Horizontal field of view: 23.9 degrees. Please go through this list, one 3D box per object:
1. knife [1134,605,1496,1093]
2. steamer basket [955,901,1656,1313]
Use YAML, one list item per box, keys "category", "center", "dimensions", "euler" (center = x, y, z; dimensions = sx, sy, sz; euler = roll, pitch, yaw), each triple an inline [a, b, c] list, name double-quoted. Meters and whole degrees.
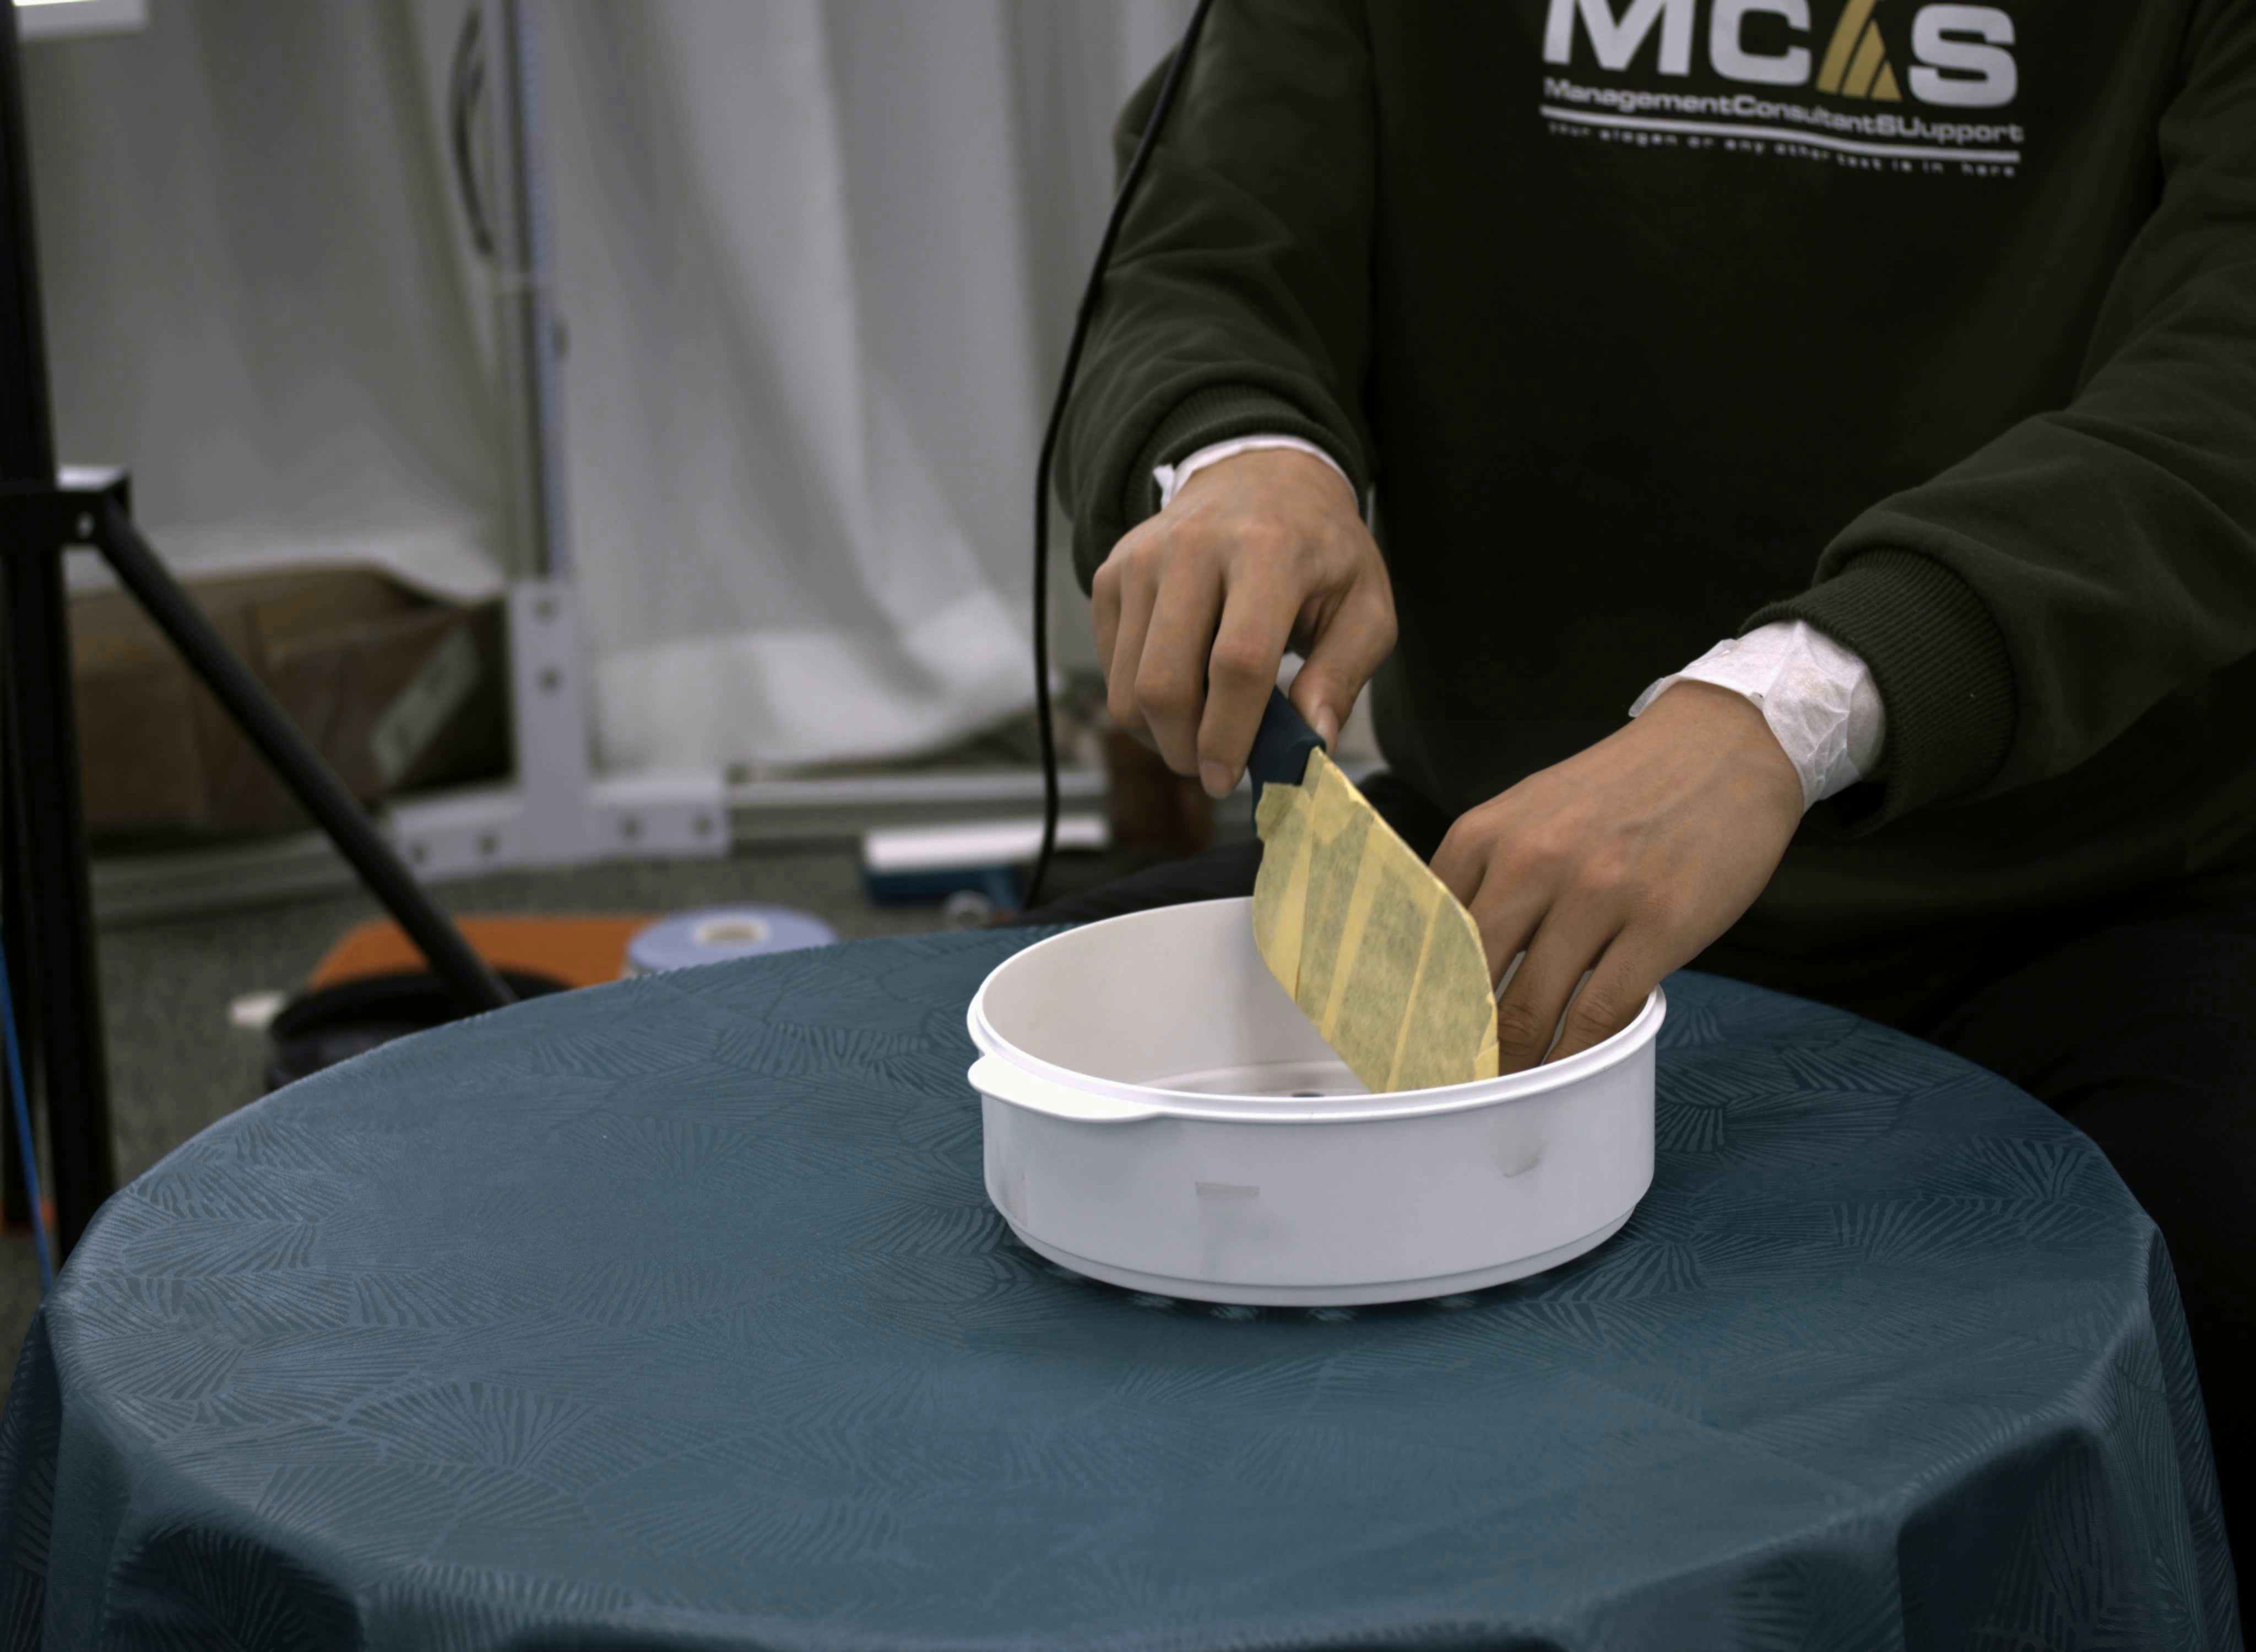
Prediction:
- category: "knife"
  center: [0.054, 0.012, 1.581]
  dimensions: [0.026, 0.081, 0.295]
  euler: [6, 26, -23]
- category: "steamer basket"
  center: [0.051, 0.081, 1.528]
  dimensions: [0.225, 0.069, 0.206]
  euler: [-13, 20, -39]
